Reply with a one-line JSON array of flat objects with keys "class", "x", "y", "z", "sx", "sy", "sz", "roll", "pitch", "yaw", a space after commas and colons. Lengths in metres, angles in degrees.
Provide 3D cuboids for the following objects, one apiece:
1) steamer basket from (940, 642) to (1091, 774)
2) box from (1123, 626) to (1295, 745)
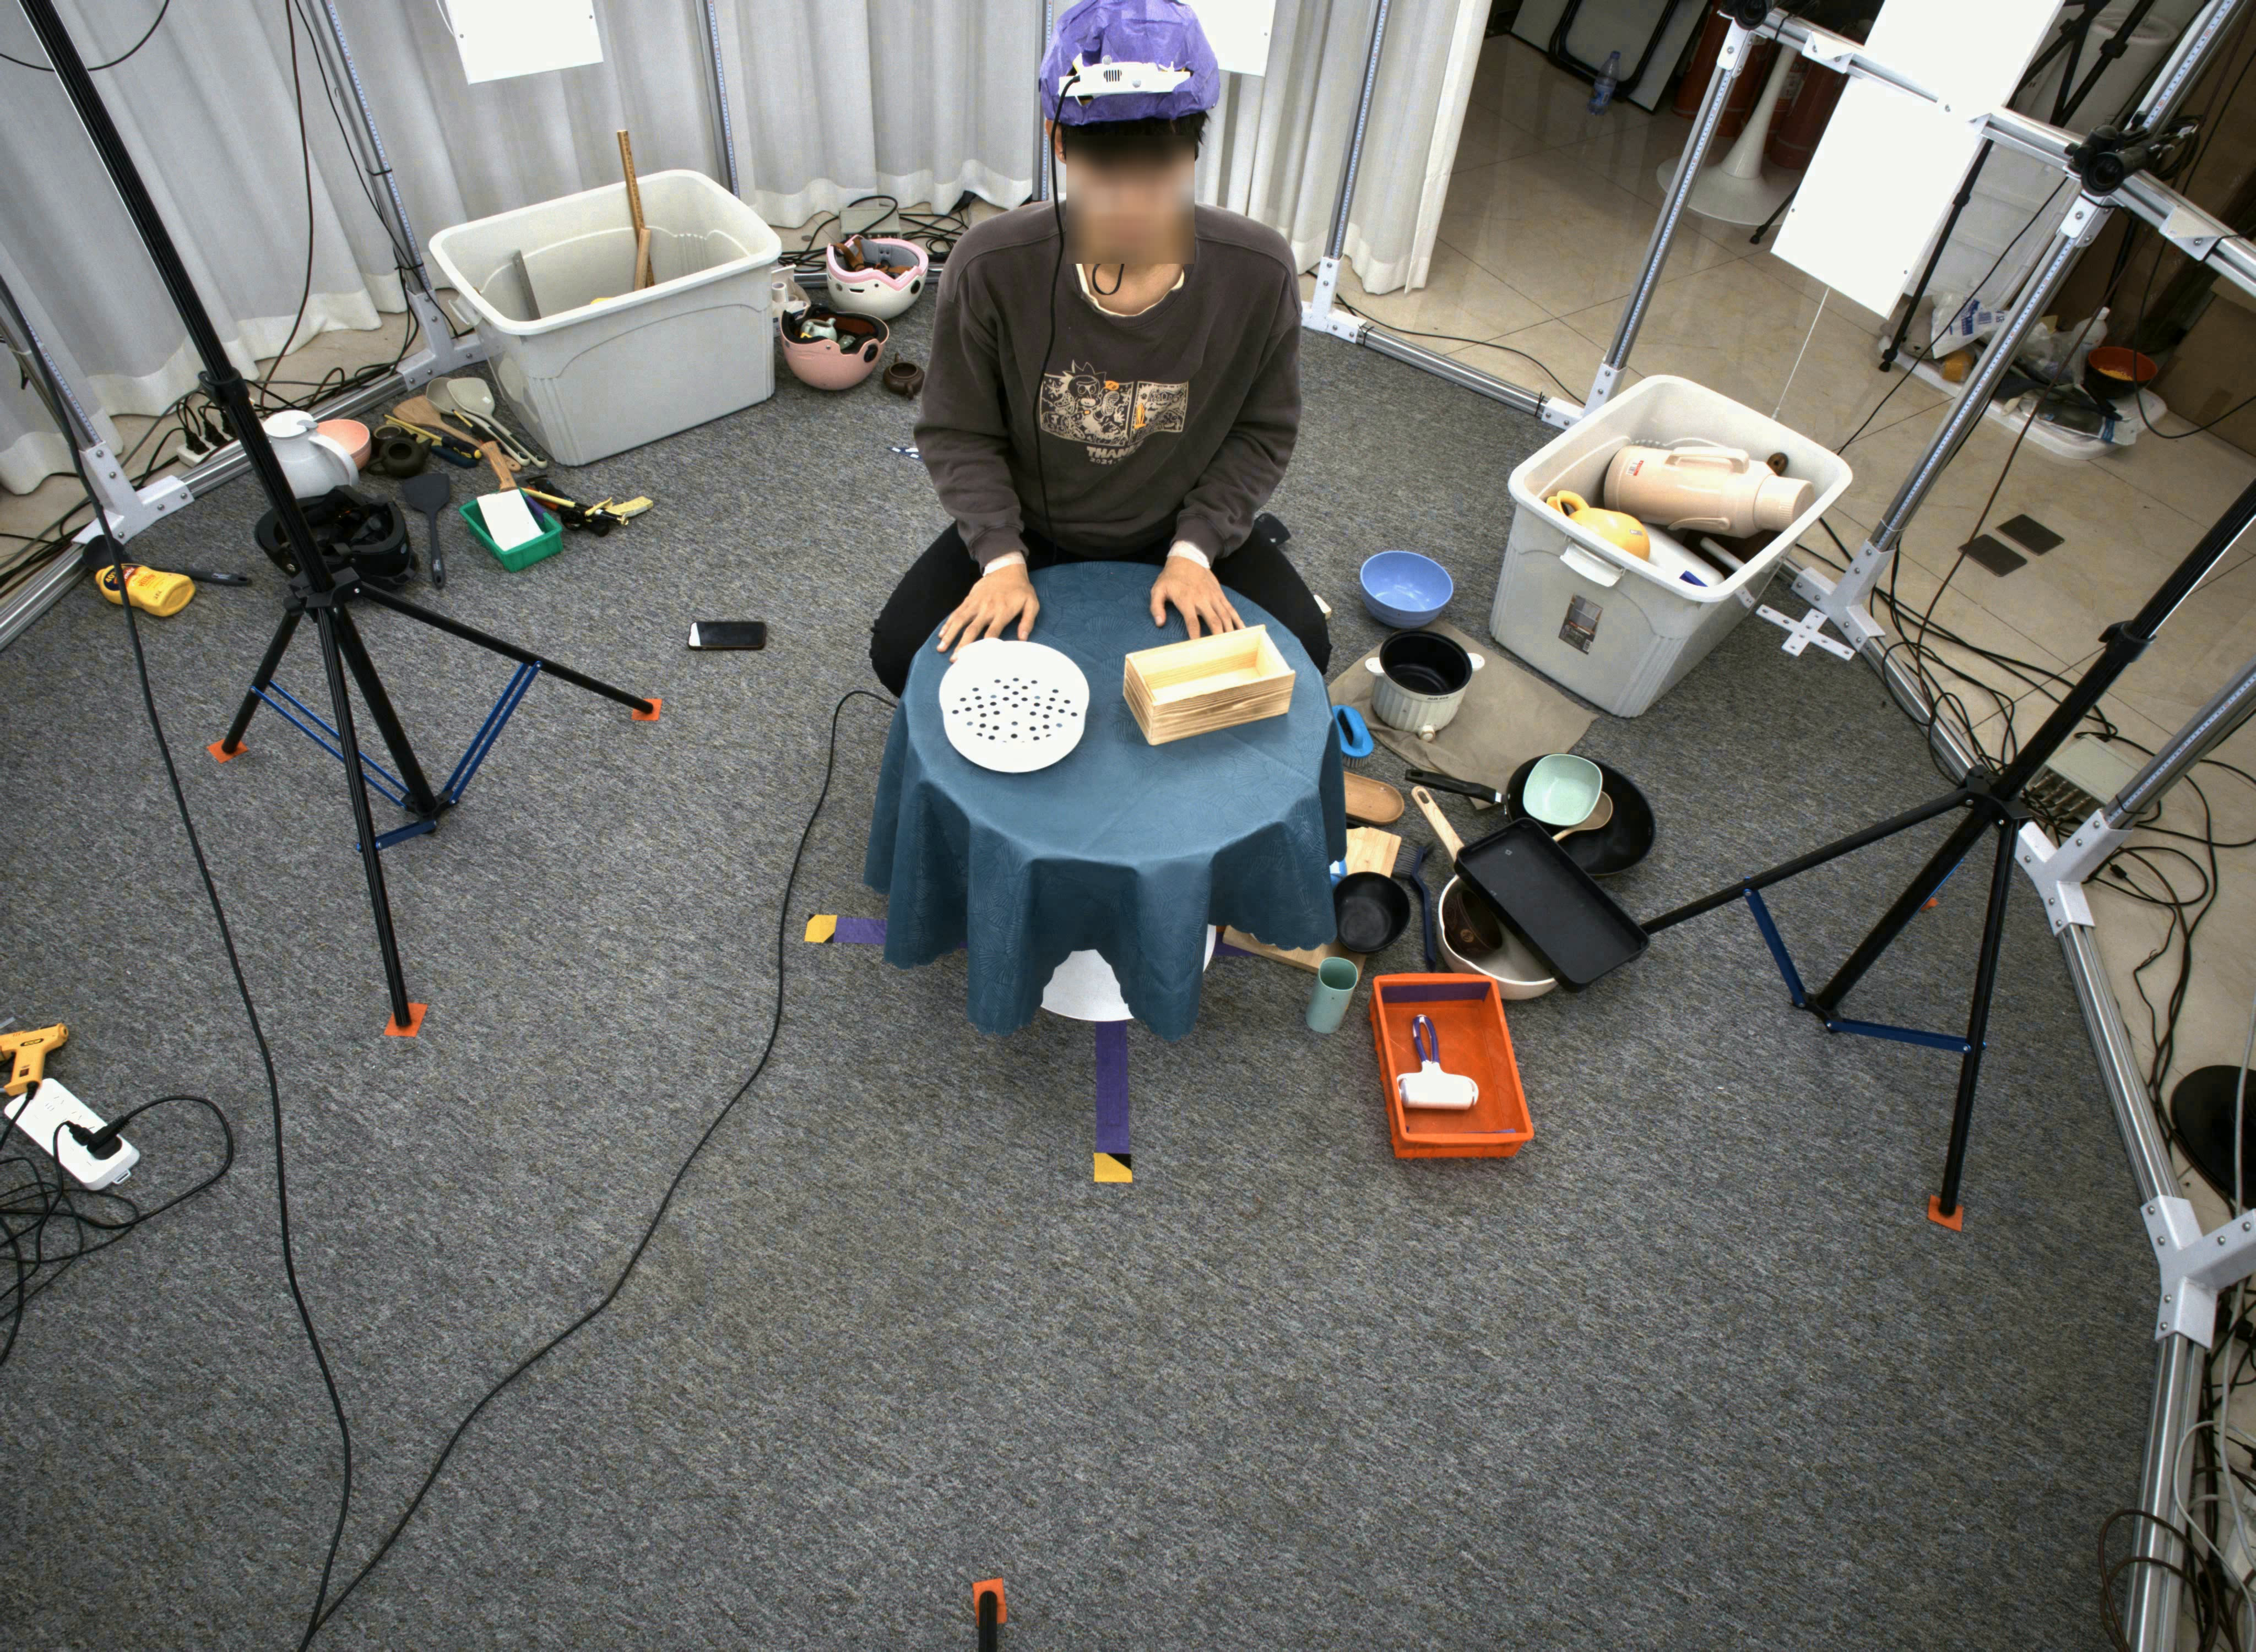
[{"class": "steamer basket", "x": -0.152, "y": -0.158, "z": 1.750, "sx": 0.202, "sy": 0.067, "sz": 0.235, "roll": -22, "pitch": 53, "yaw": -22}, {"class": "box", "x": 0.111, "y": -0.198, "z": 1.793, "sx": 0.211, "sy": 0.078, "sz": 0.110, "roll": -14, "pitch": 51, "yaw": -16}]
